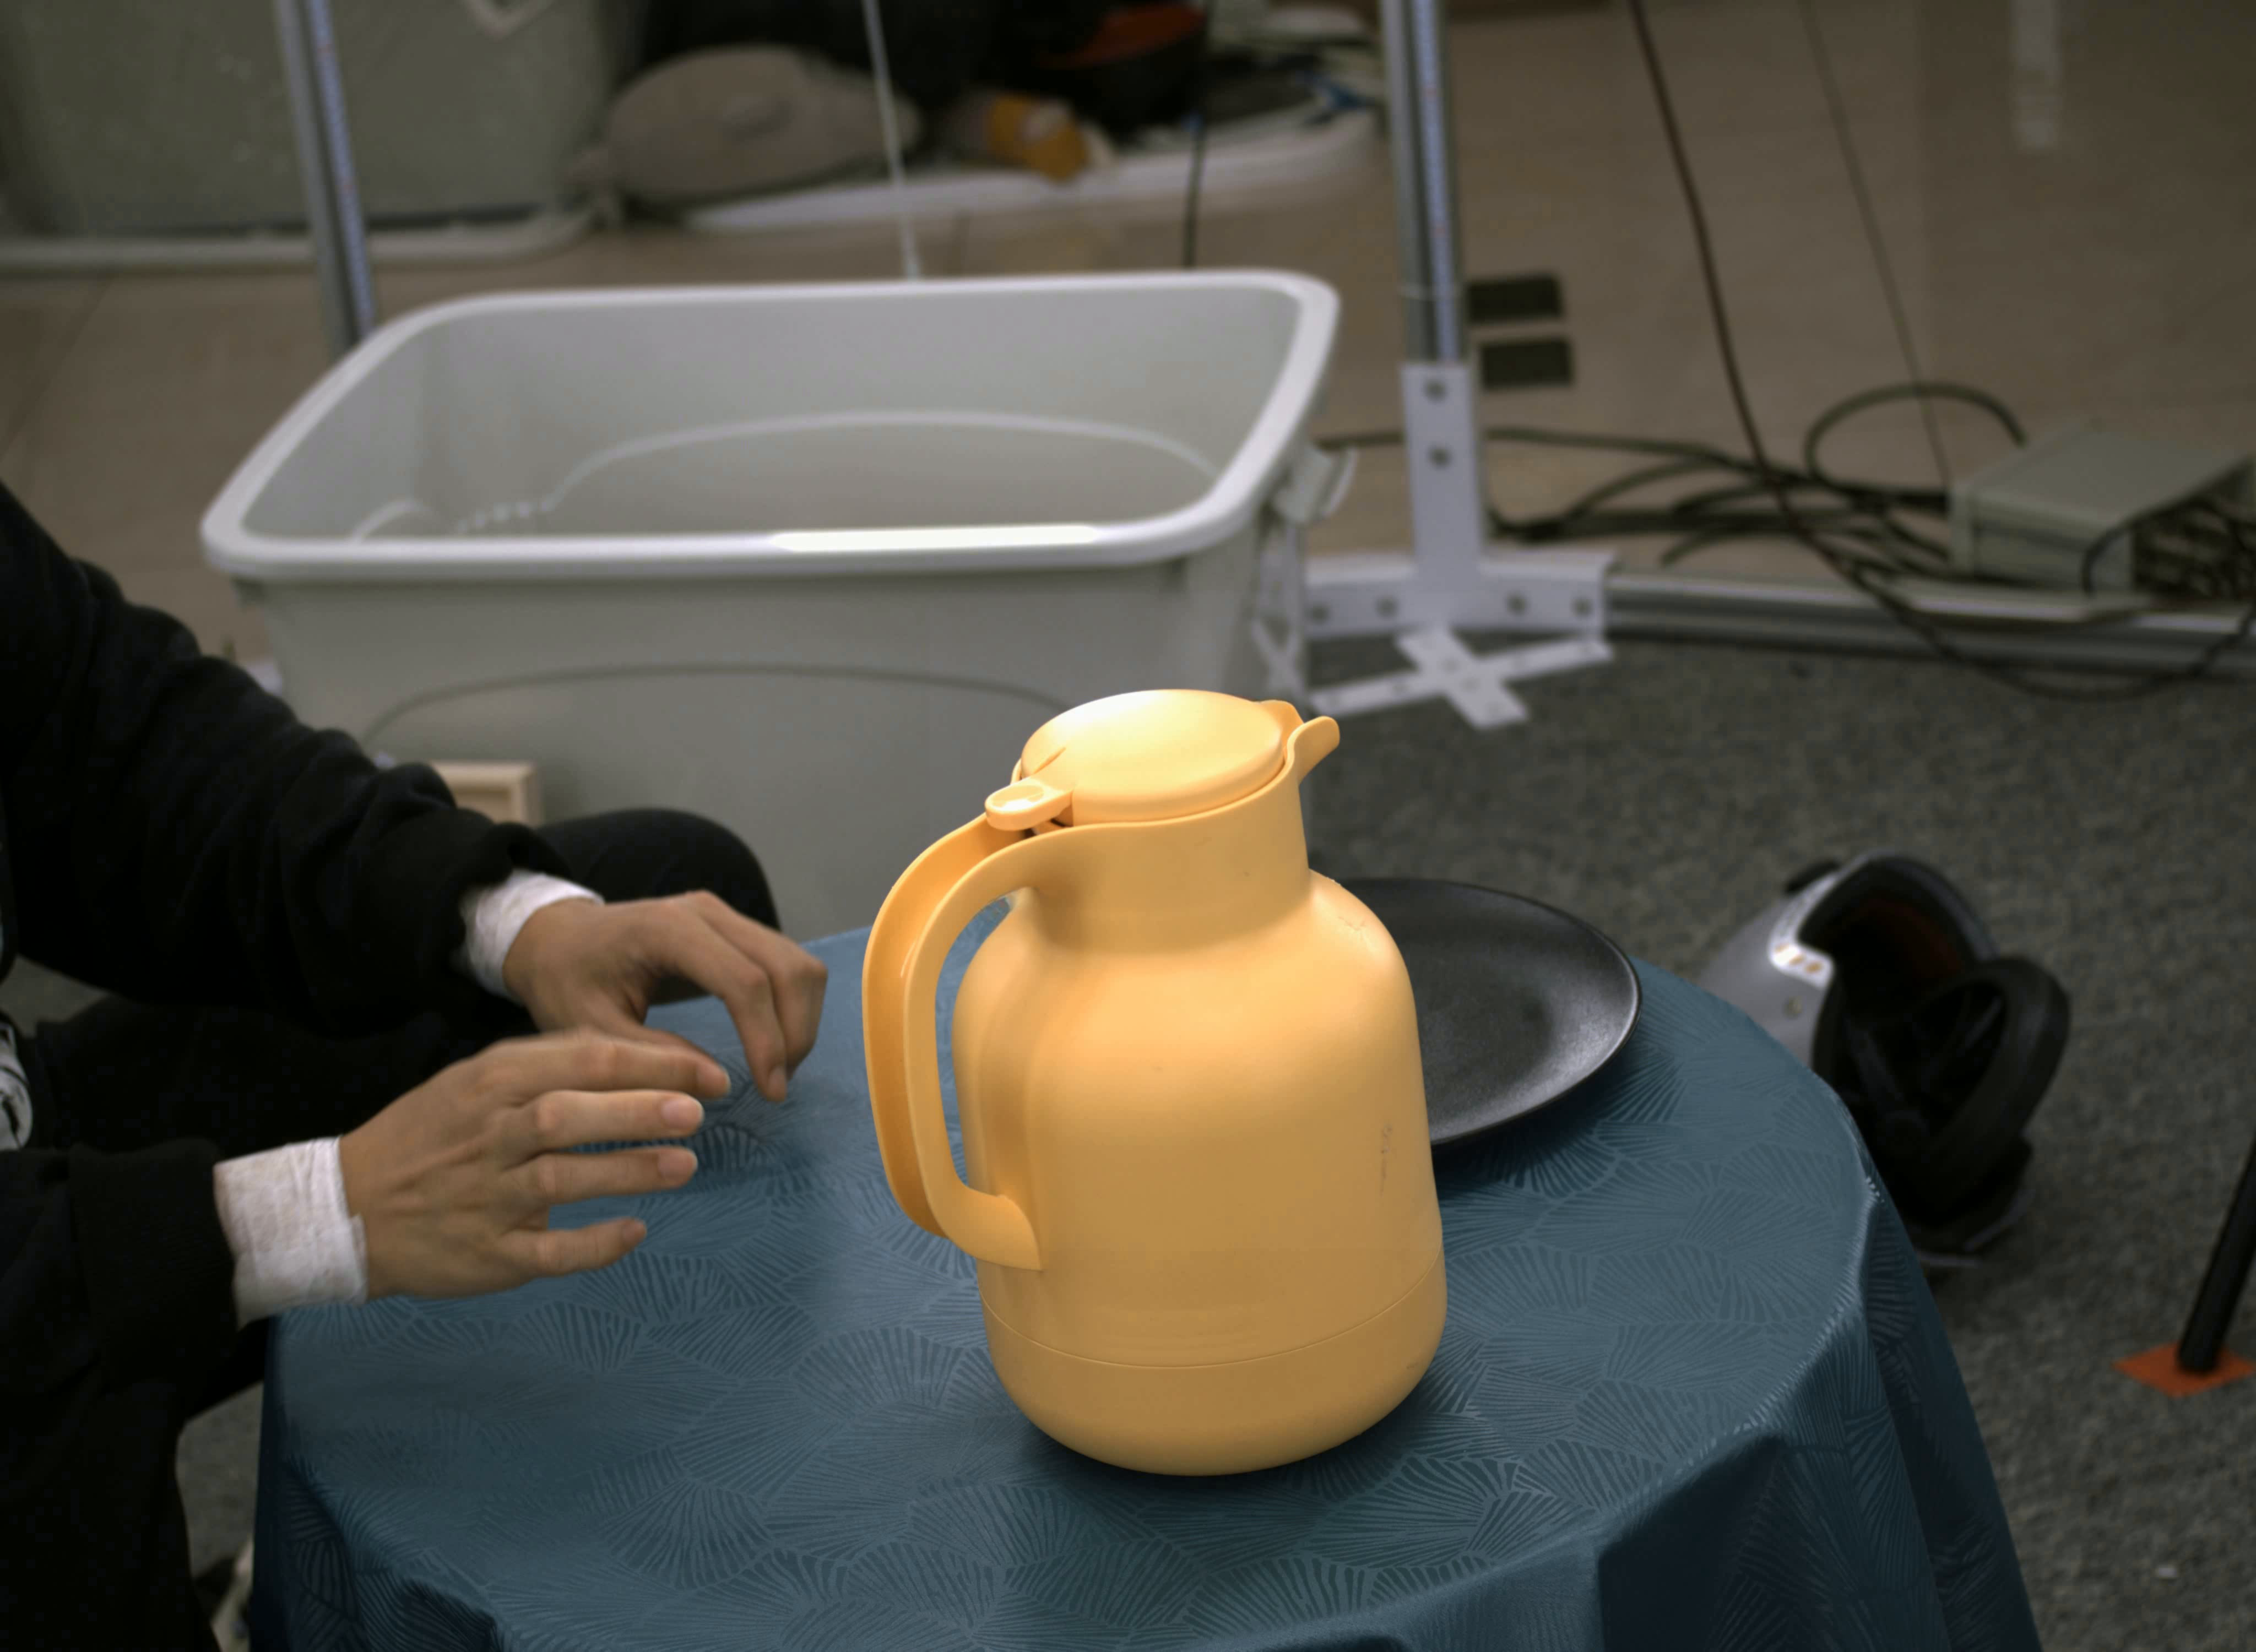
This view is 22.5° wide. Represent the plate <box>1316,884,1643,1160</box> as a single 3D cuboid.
[{"bbox_3d":[0.081,0.083,2.222,0.244,0.024,0.241,-5,25,2],"label":"plate"}]

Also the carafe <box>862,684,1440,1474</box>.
[{"bbox_3d":[0.003,0.088,1.942,0.201,0.264,0.162,-19,26,-29],"label":"carafe"}]
